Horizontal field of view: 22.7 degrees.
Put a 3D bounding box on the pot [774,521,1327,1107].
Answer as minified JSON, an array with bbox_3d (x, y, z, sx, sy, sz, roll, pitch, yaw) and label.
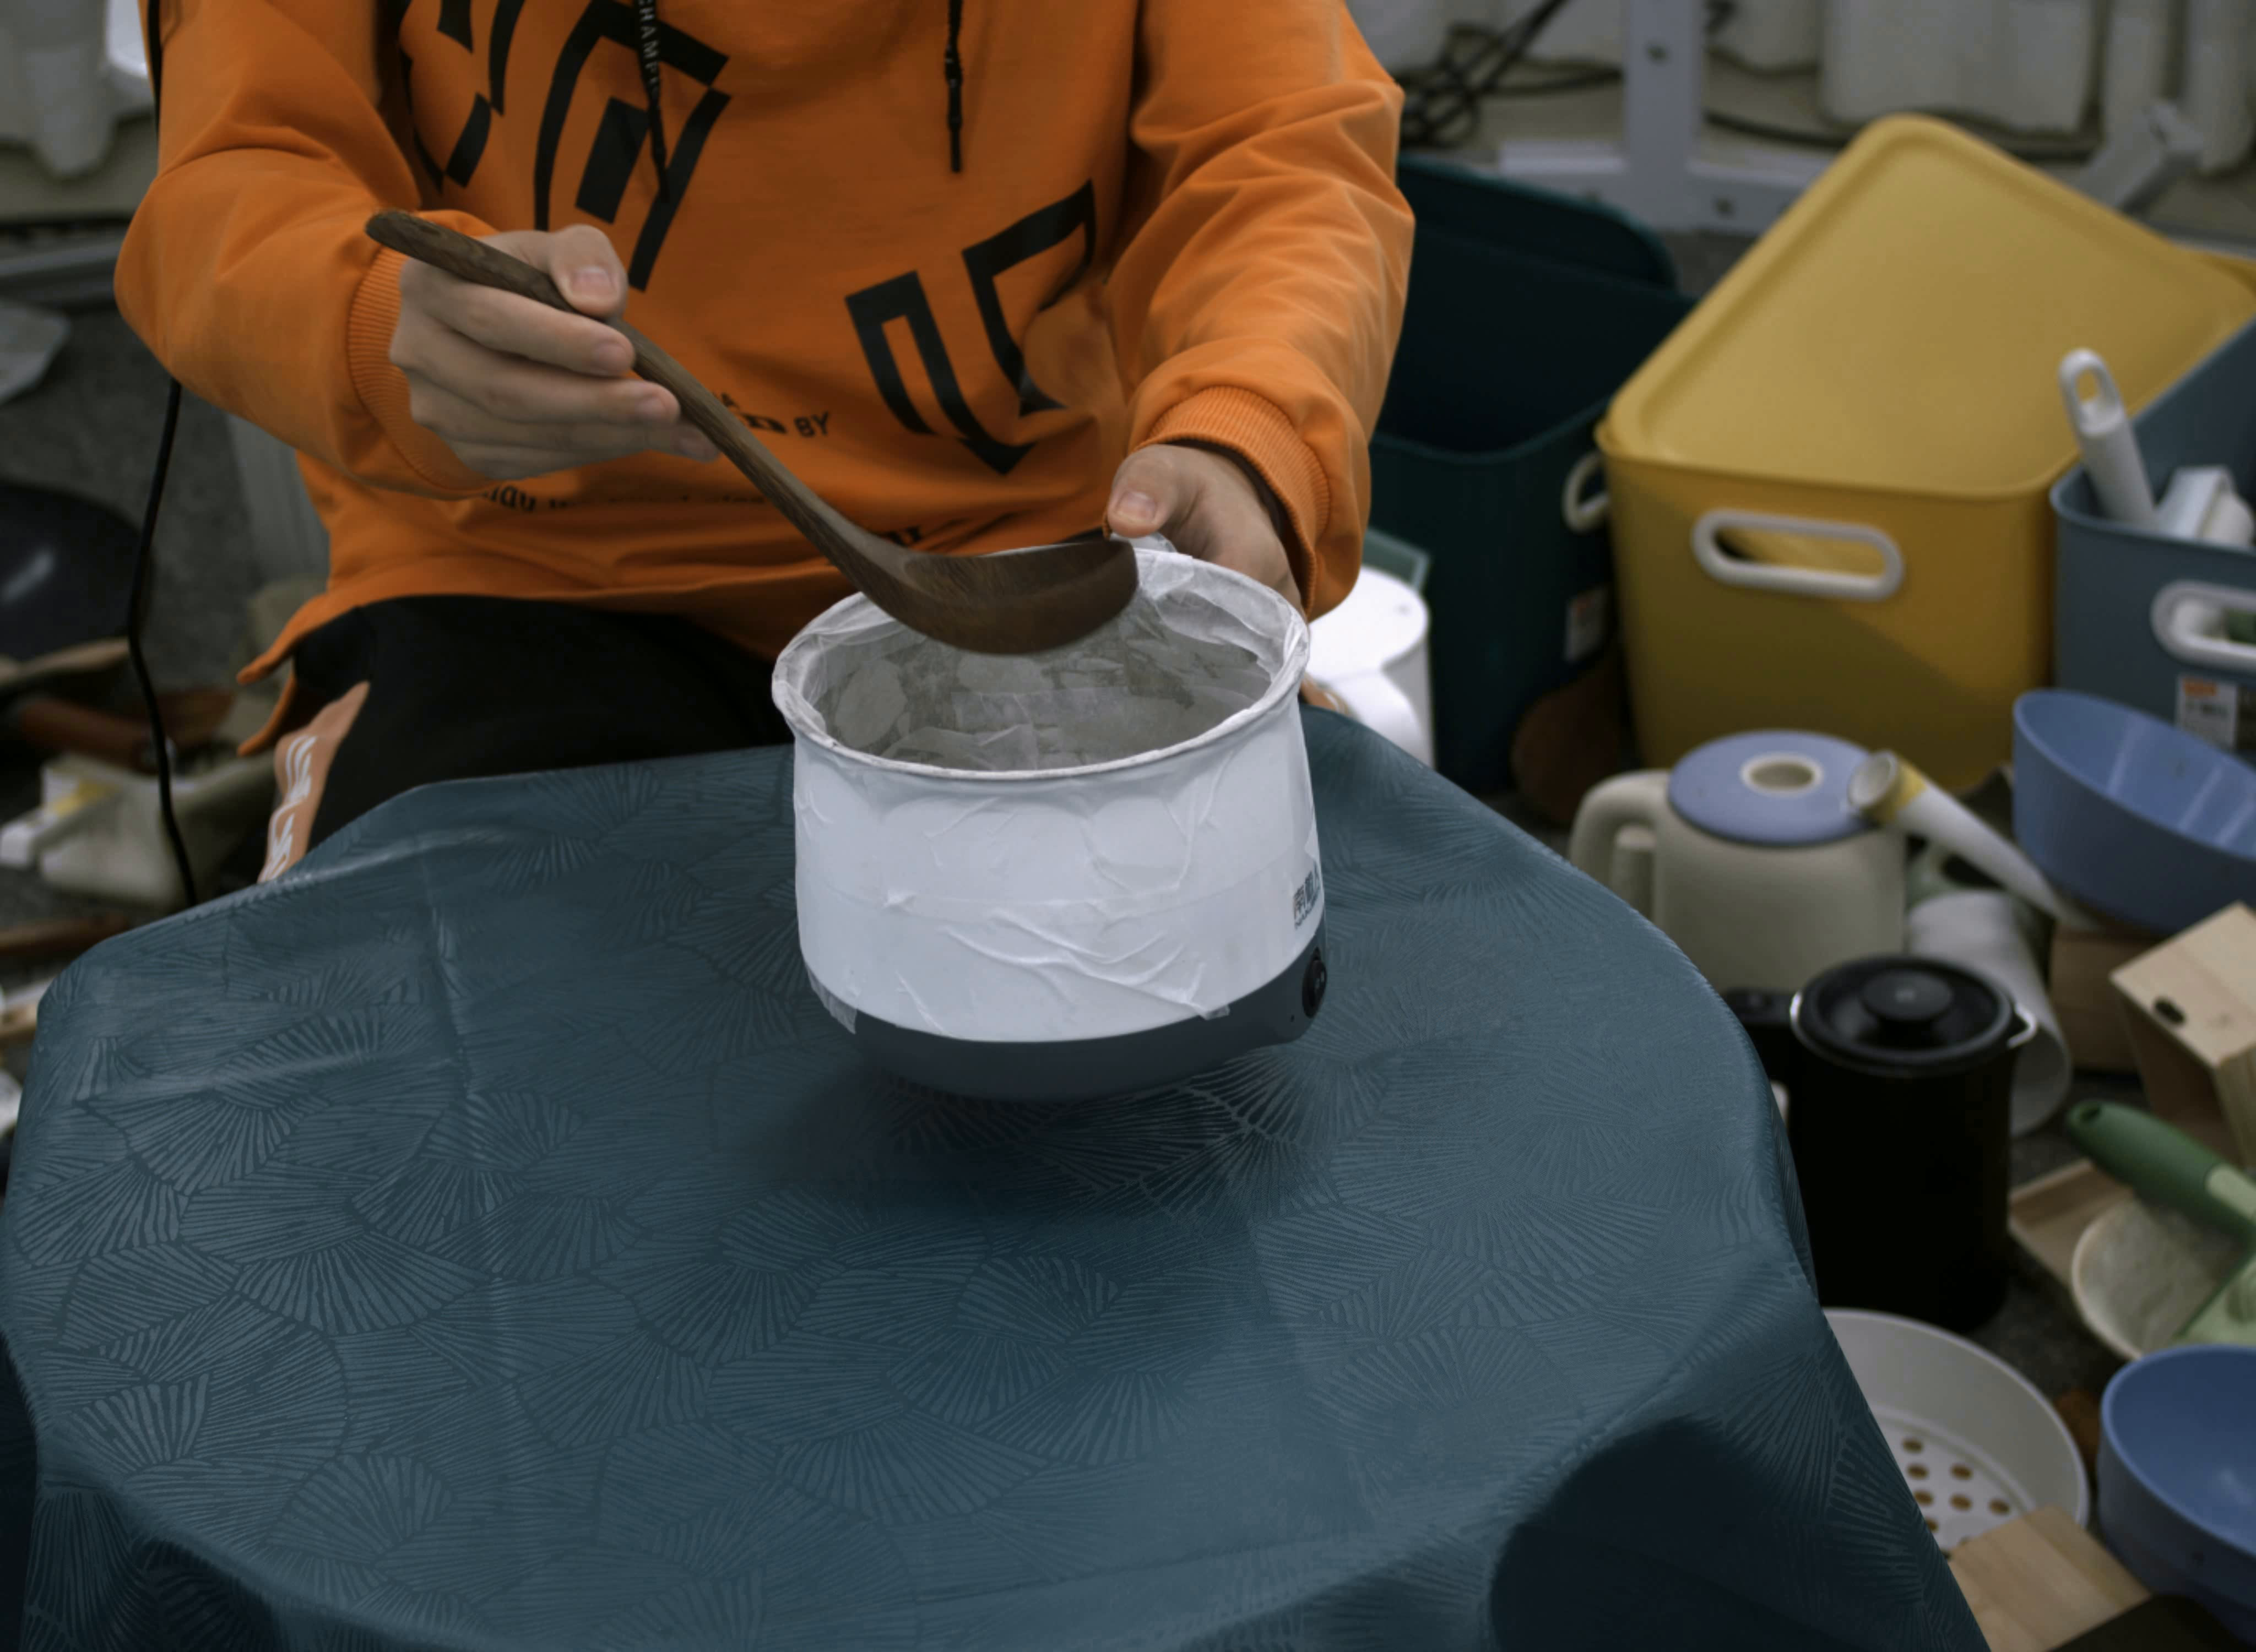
[{"bbox_3d":[-0.016,-0.011,1.893,0.177,0.135,0.238,4,27,16],"label":"pot"}]

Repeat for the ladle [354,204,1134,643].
[{"bbox_3d":[-0.122,-0.146,1.844,0.273,0.071,0.076,36,11,-4],"label":"ladle"}]
